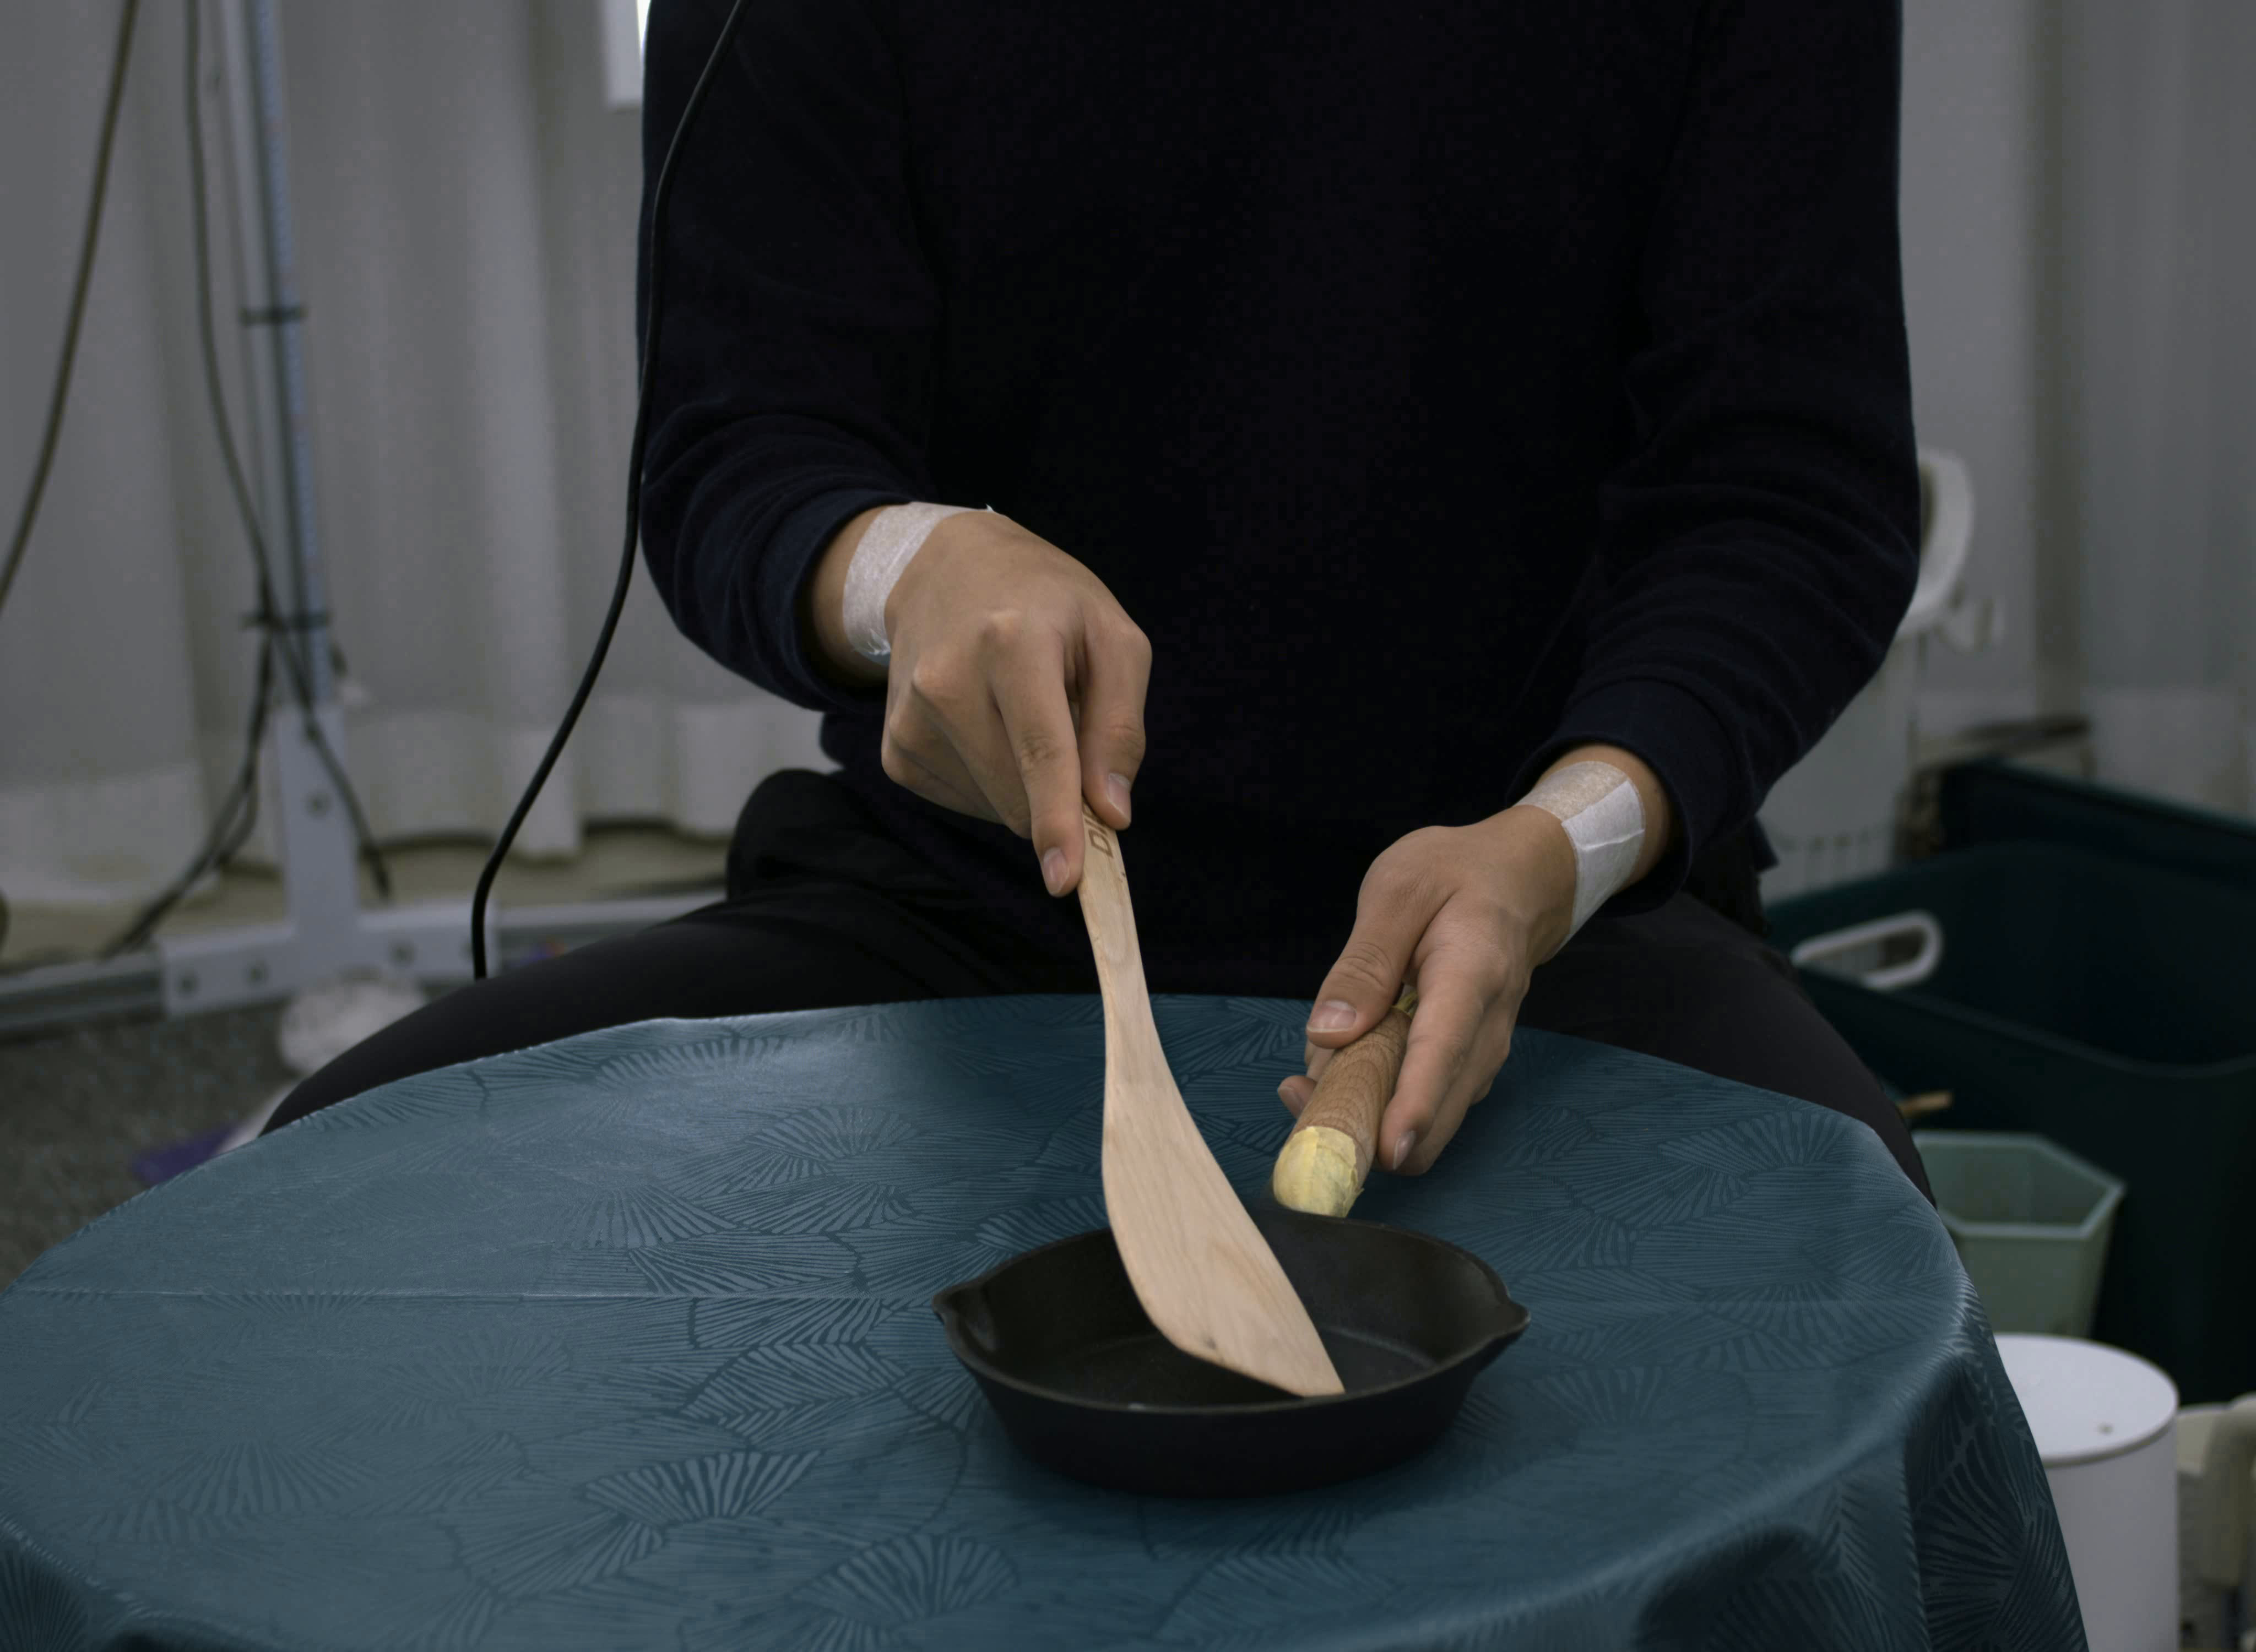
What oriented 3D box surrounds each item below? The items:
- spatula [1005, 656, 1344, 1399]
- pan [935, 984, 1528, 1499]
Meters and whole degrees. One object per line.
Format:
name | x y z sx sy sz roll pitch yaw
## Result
spatula | 0.004 0.054 1.610 0.079 0.016 0.333 31 27 -33
pan | 0.051 0.118 1.596 0.169 0.049 0.326 2 17 16
